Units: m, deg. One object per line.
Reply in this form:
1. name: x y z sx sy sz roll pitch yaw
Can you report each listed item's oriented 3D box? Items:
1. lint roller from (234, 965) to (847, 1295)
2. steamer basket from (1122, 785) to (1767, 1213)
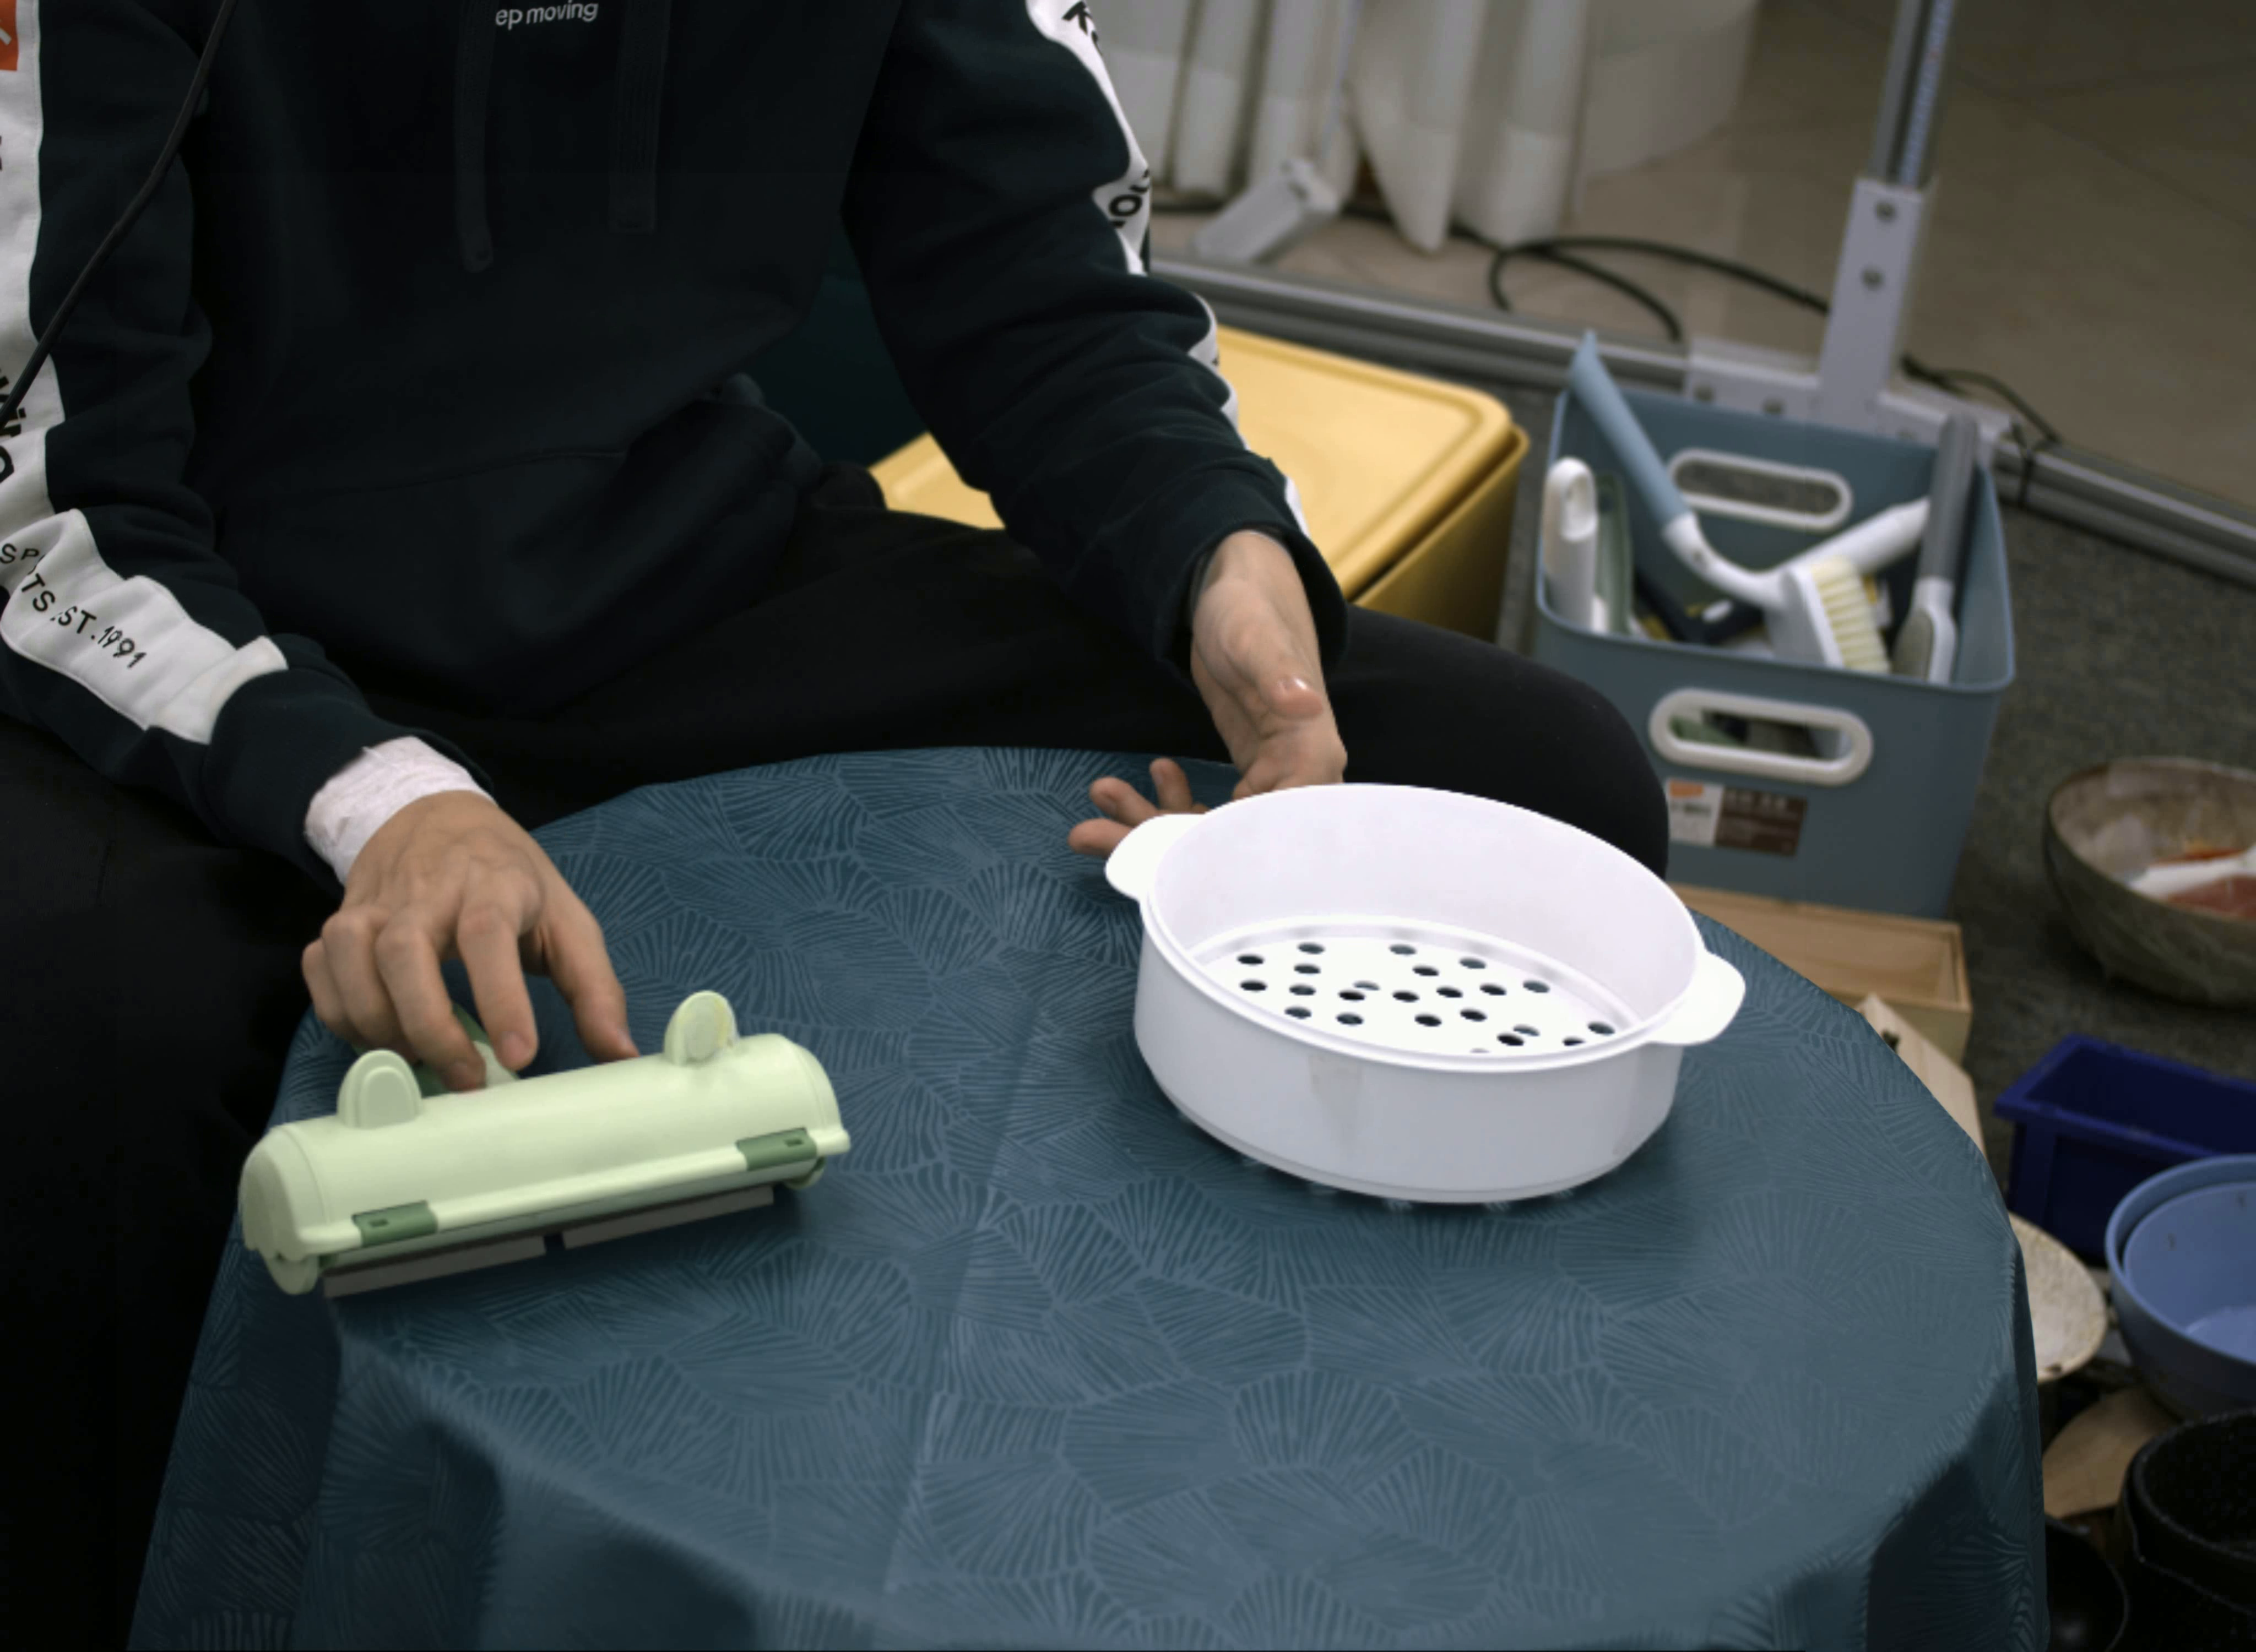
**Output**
1. lint roller: -0.216 0.074 1.761 0.197 0.082 0.185 -10 35 -29
2. steamer basket: 0.106 0.061 1.870 0.231 0.069 0.202 16 29 15
